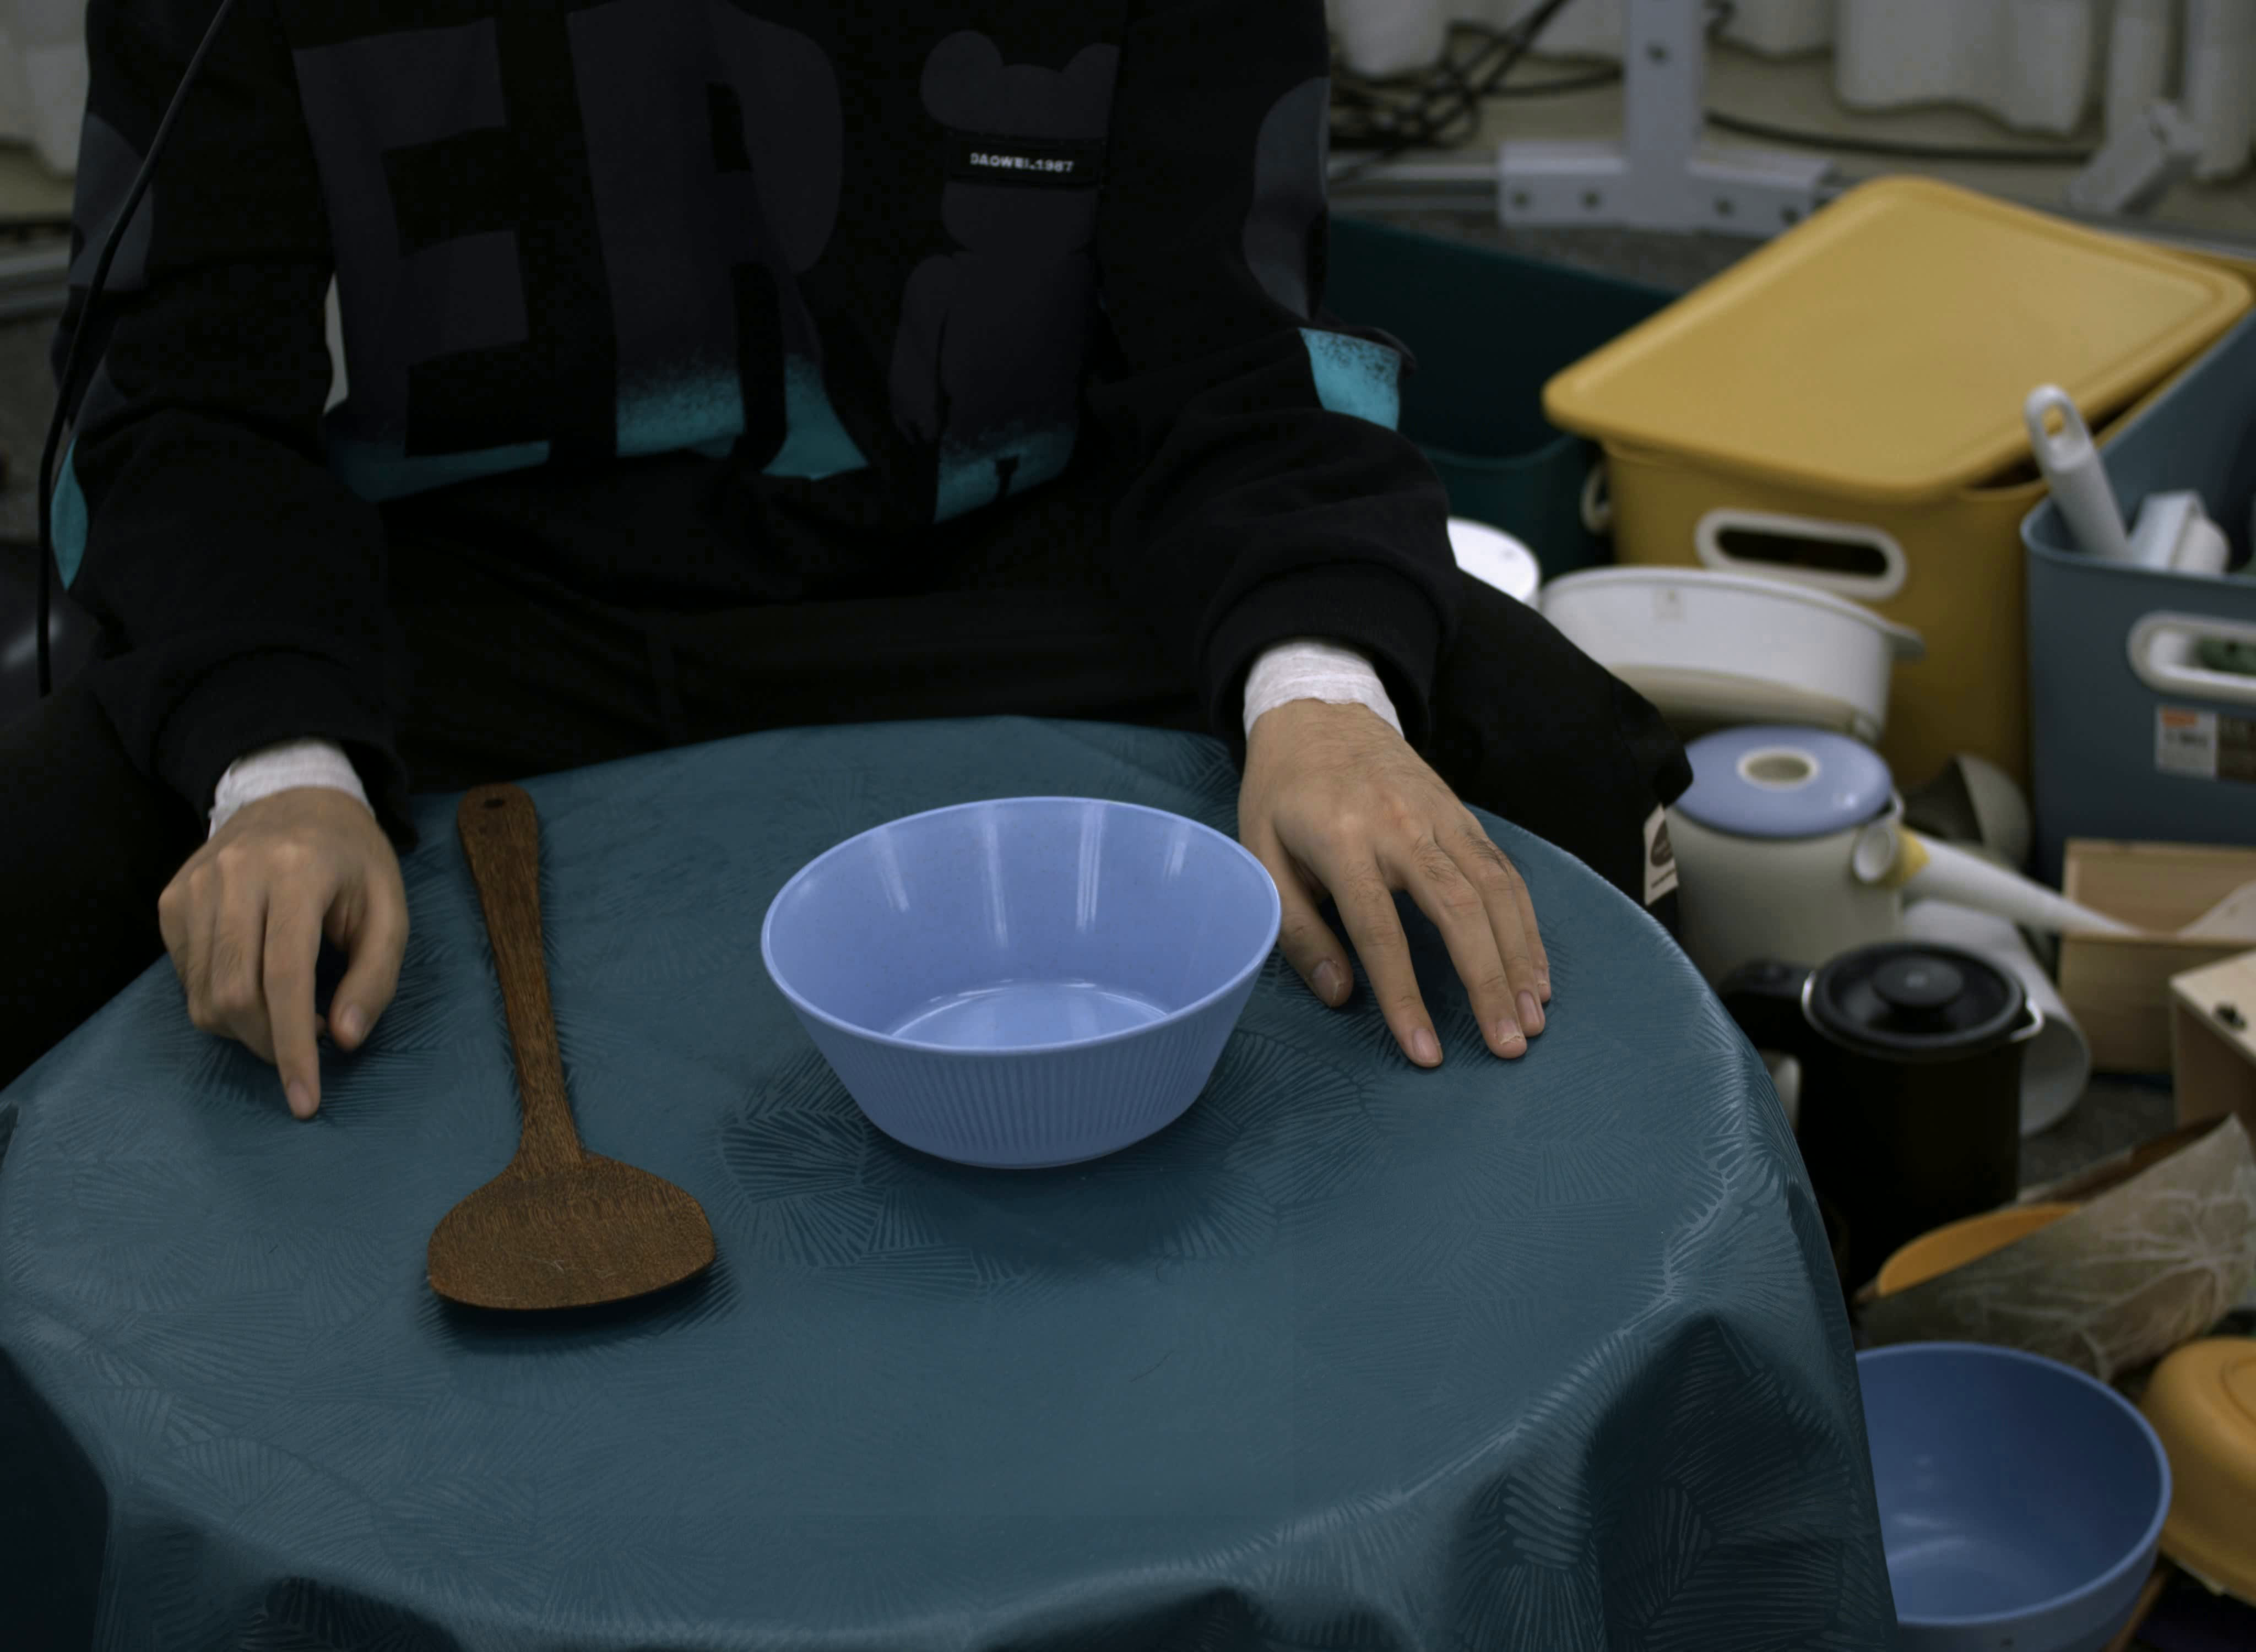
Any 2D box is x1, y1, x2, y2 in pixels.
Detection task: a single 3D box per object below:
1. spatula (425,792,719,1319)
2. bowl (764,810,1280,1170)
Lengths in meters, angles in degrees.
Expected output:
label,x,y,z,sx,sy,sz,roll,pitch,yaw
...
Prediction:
label,x,y,z,sx,sy,sz,roll,pitch,yaw
spatula,-0.208,0.072,1.964,0.096,0.015,0.390,-6,27,-8
bowl,-0.034,0.061,1.907,0.175,0.069,0.178,-2,26,1
